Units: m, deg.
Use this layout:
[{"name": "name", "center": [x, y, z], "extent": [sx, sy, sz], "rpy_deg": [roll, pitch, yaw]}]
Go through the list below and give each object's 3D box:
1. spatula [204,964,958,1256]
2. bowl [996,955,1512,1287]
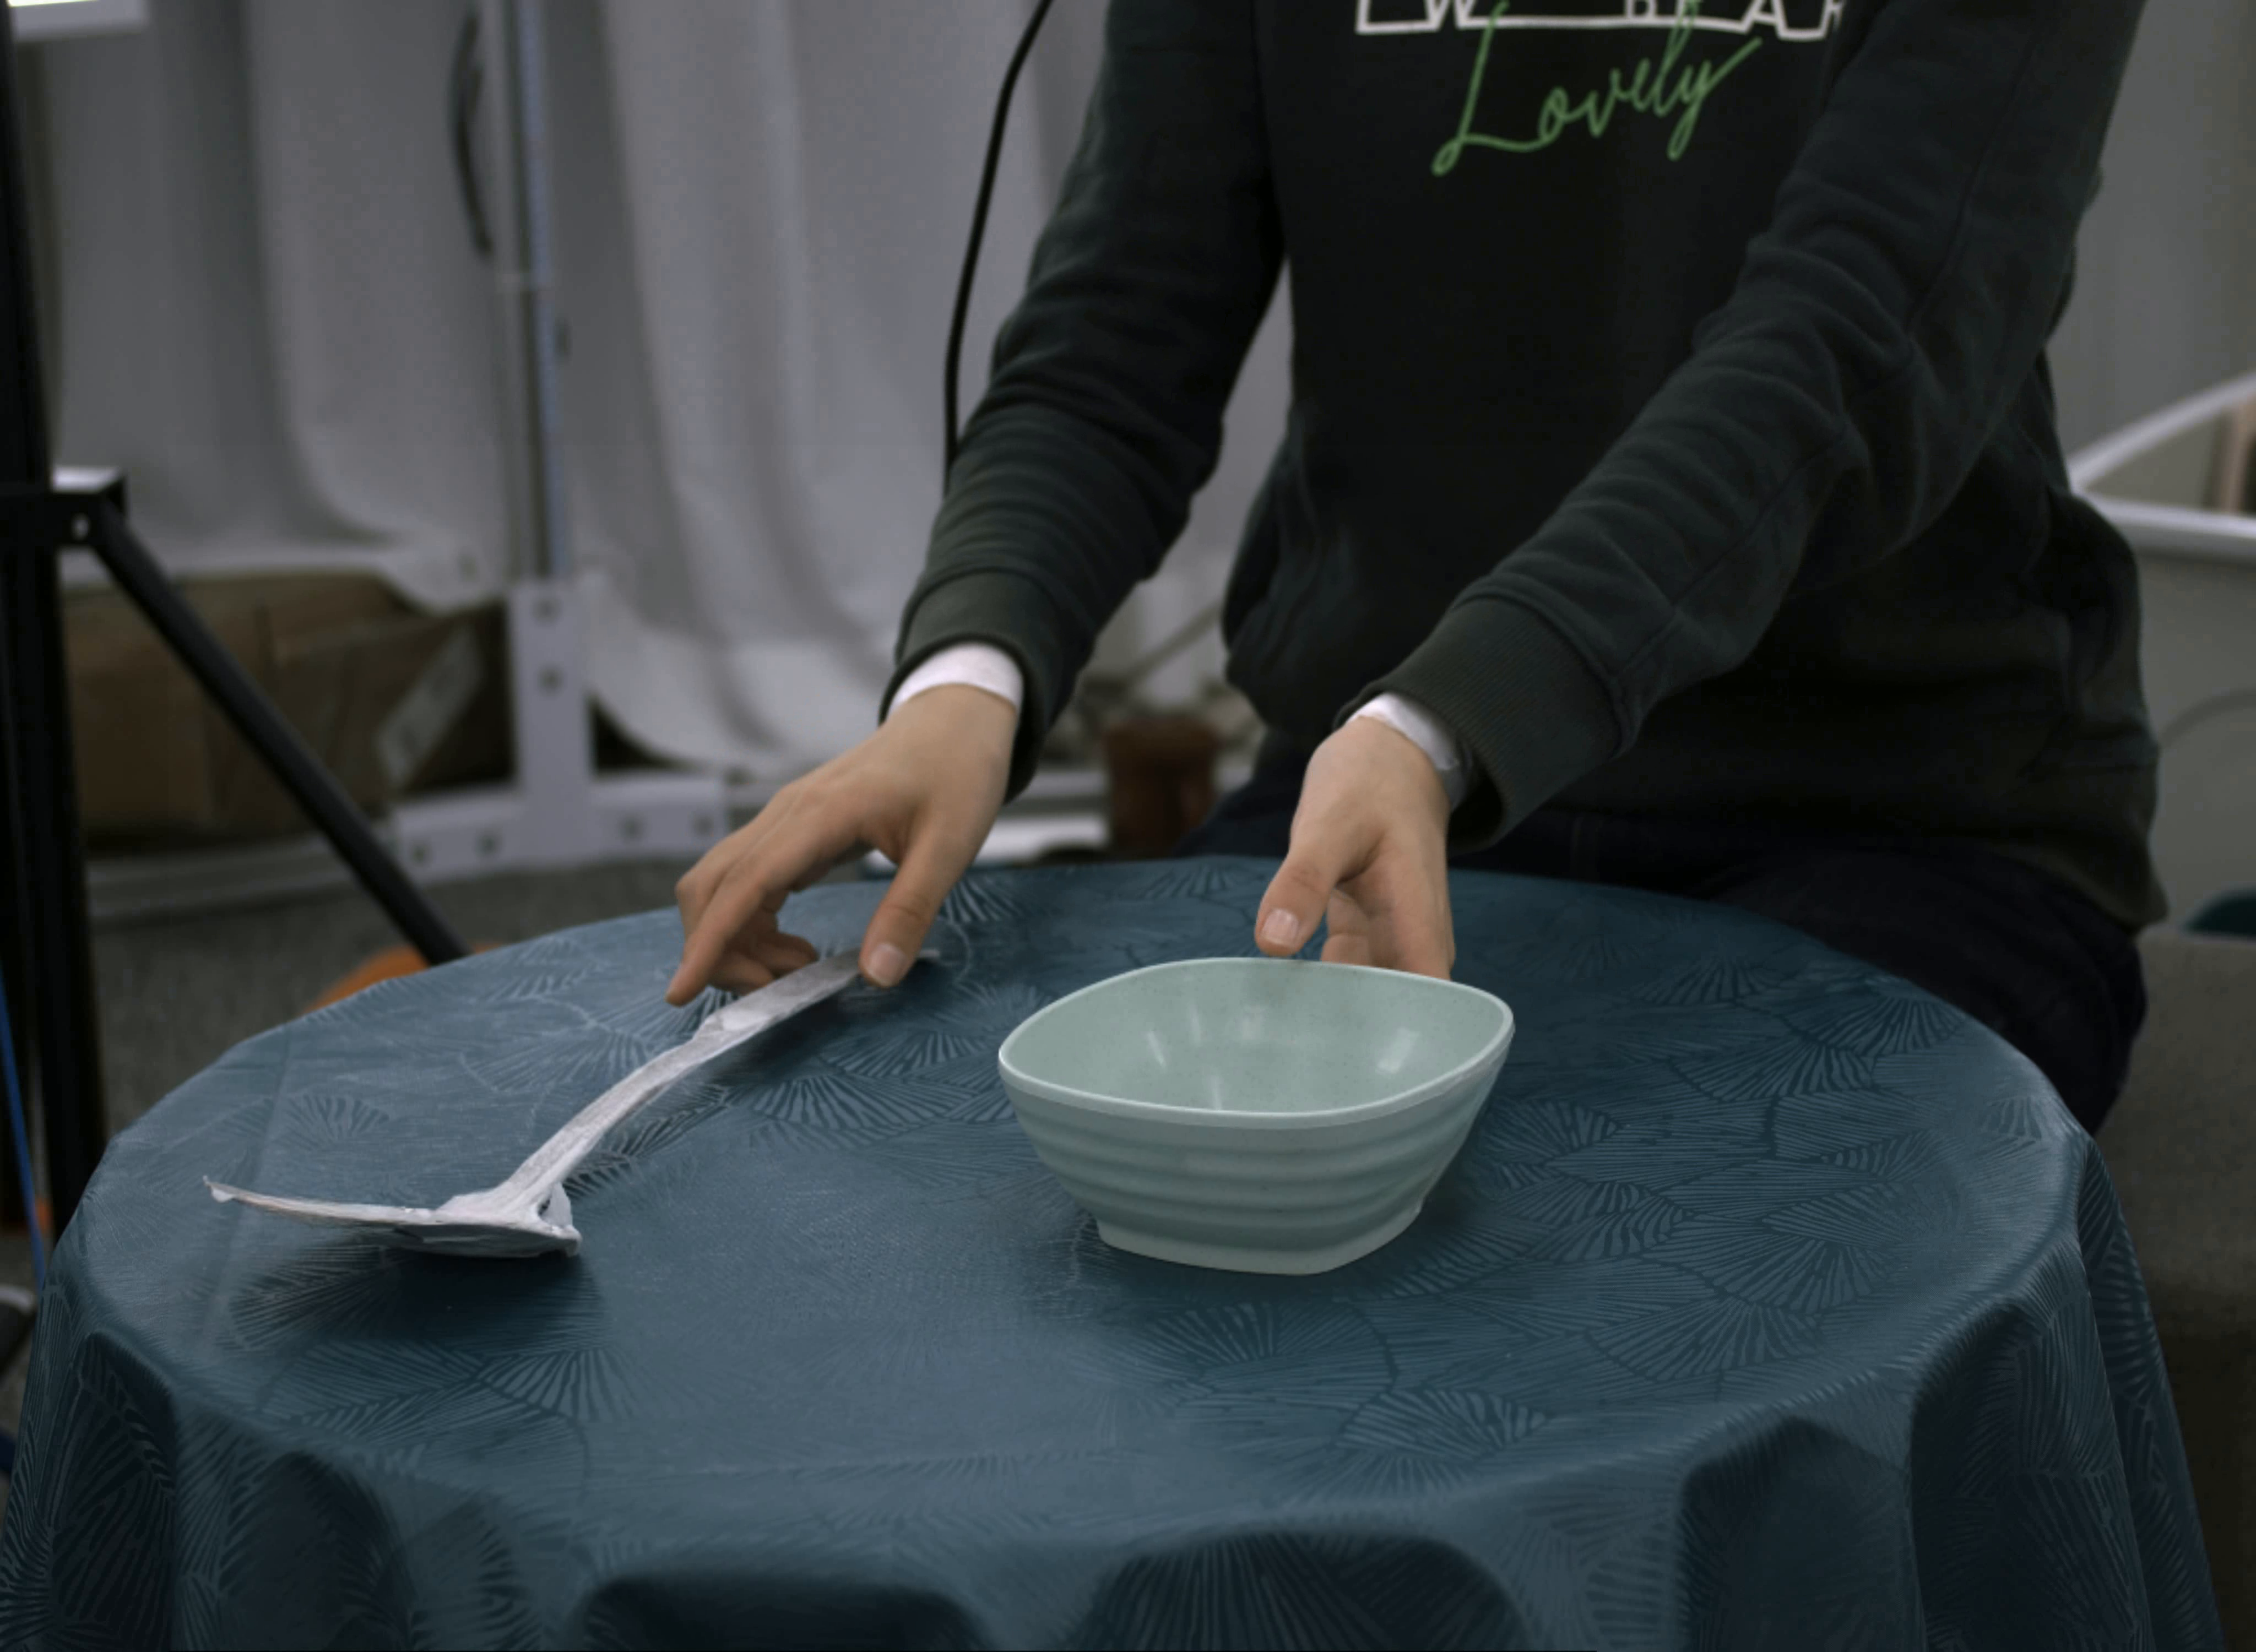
[{"name": "spatula", "center": [-0.145, 0.076, 1.623], "extent": [0.100, 0.045, 0.359], "rpy_deg": [3, 17, 26]}, {"name": "bowl", "center": [0.037, 0.088, 1.524], "extent": [0.150, 0.058, 0.152], "rpy_deg": [-2, 17, -1]}]
